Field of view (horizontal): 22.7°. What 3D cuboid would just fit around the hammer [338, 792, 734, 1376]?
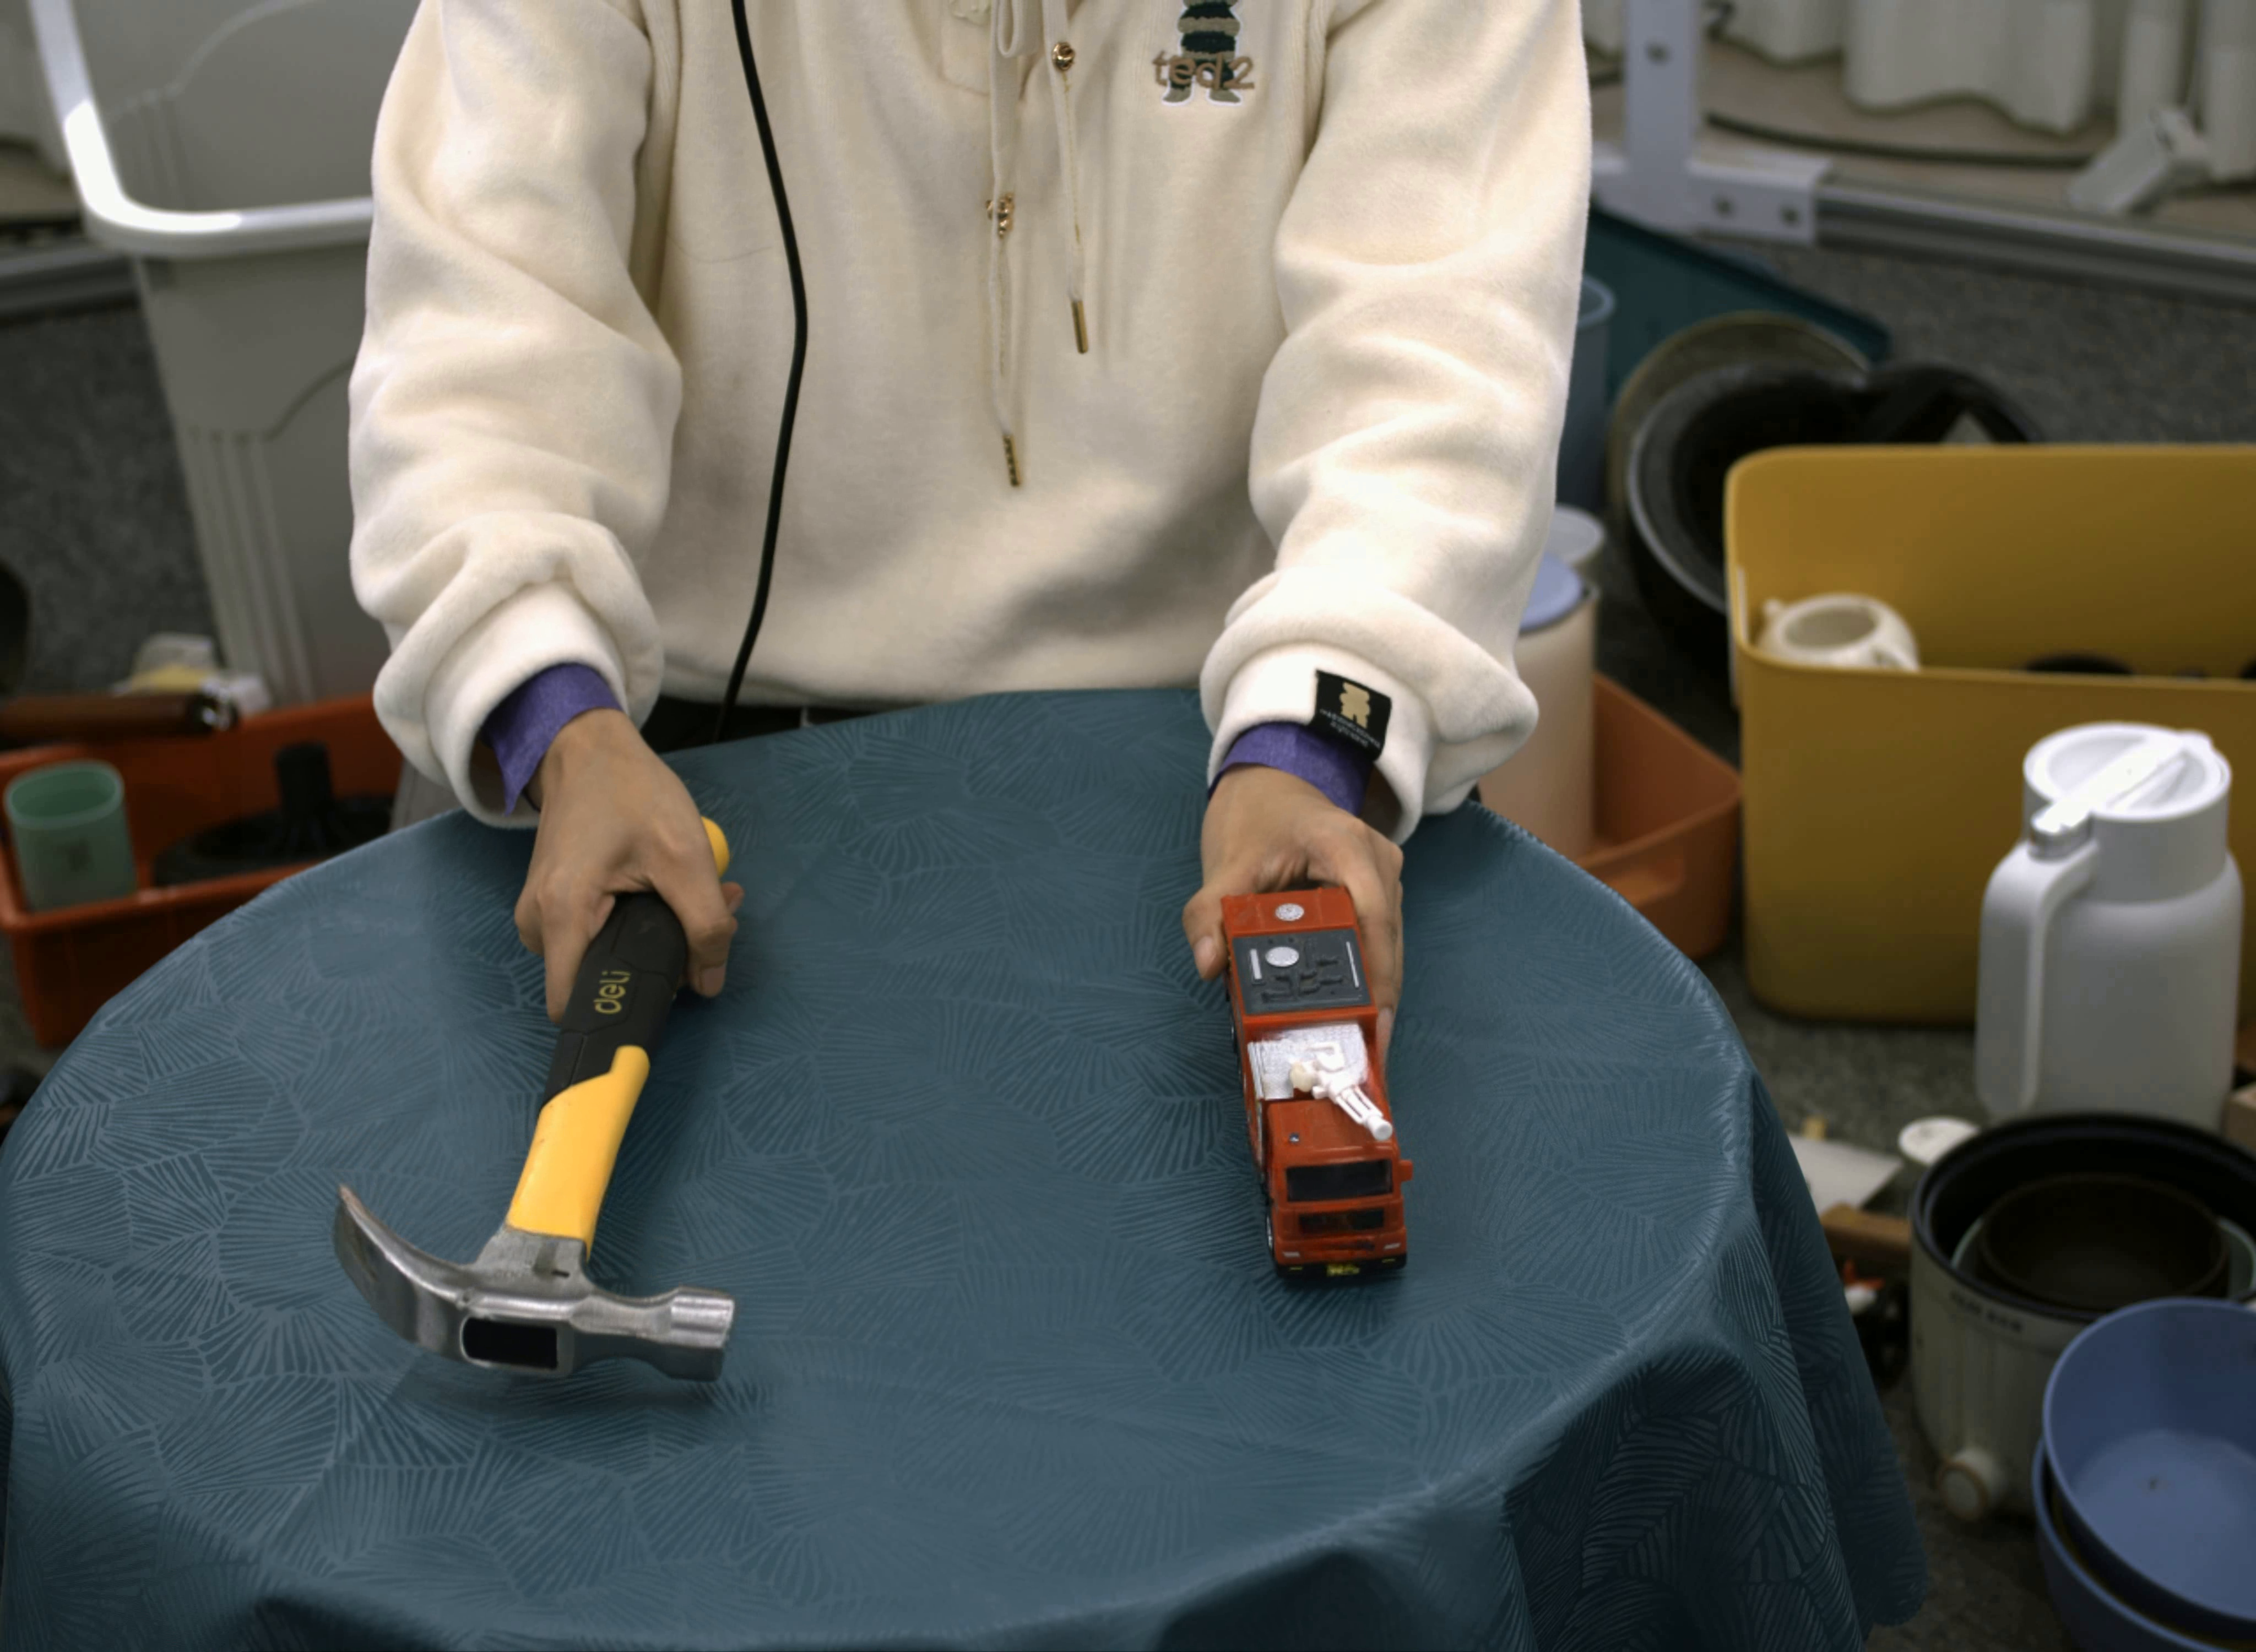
[{"bbox_3d":[-0.177,0.078,1.891,0.131,0.032,0.344,5,29,3],"label":"hammer"}]

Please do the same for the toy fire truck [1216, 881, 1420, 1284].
[{"bbox_3d":[0.062,0.083,1.855,0.054,0.069,0.170,-4,32,-4],"label":"toy fire truck"}]
